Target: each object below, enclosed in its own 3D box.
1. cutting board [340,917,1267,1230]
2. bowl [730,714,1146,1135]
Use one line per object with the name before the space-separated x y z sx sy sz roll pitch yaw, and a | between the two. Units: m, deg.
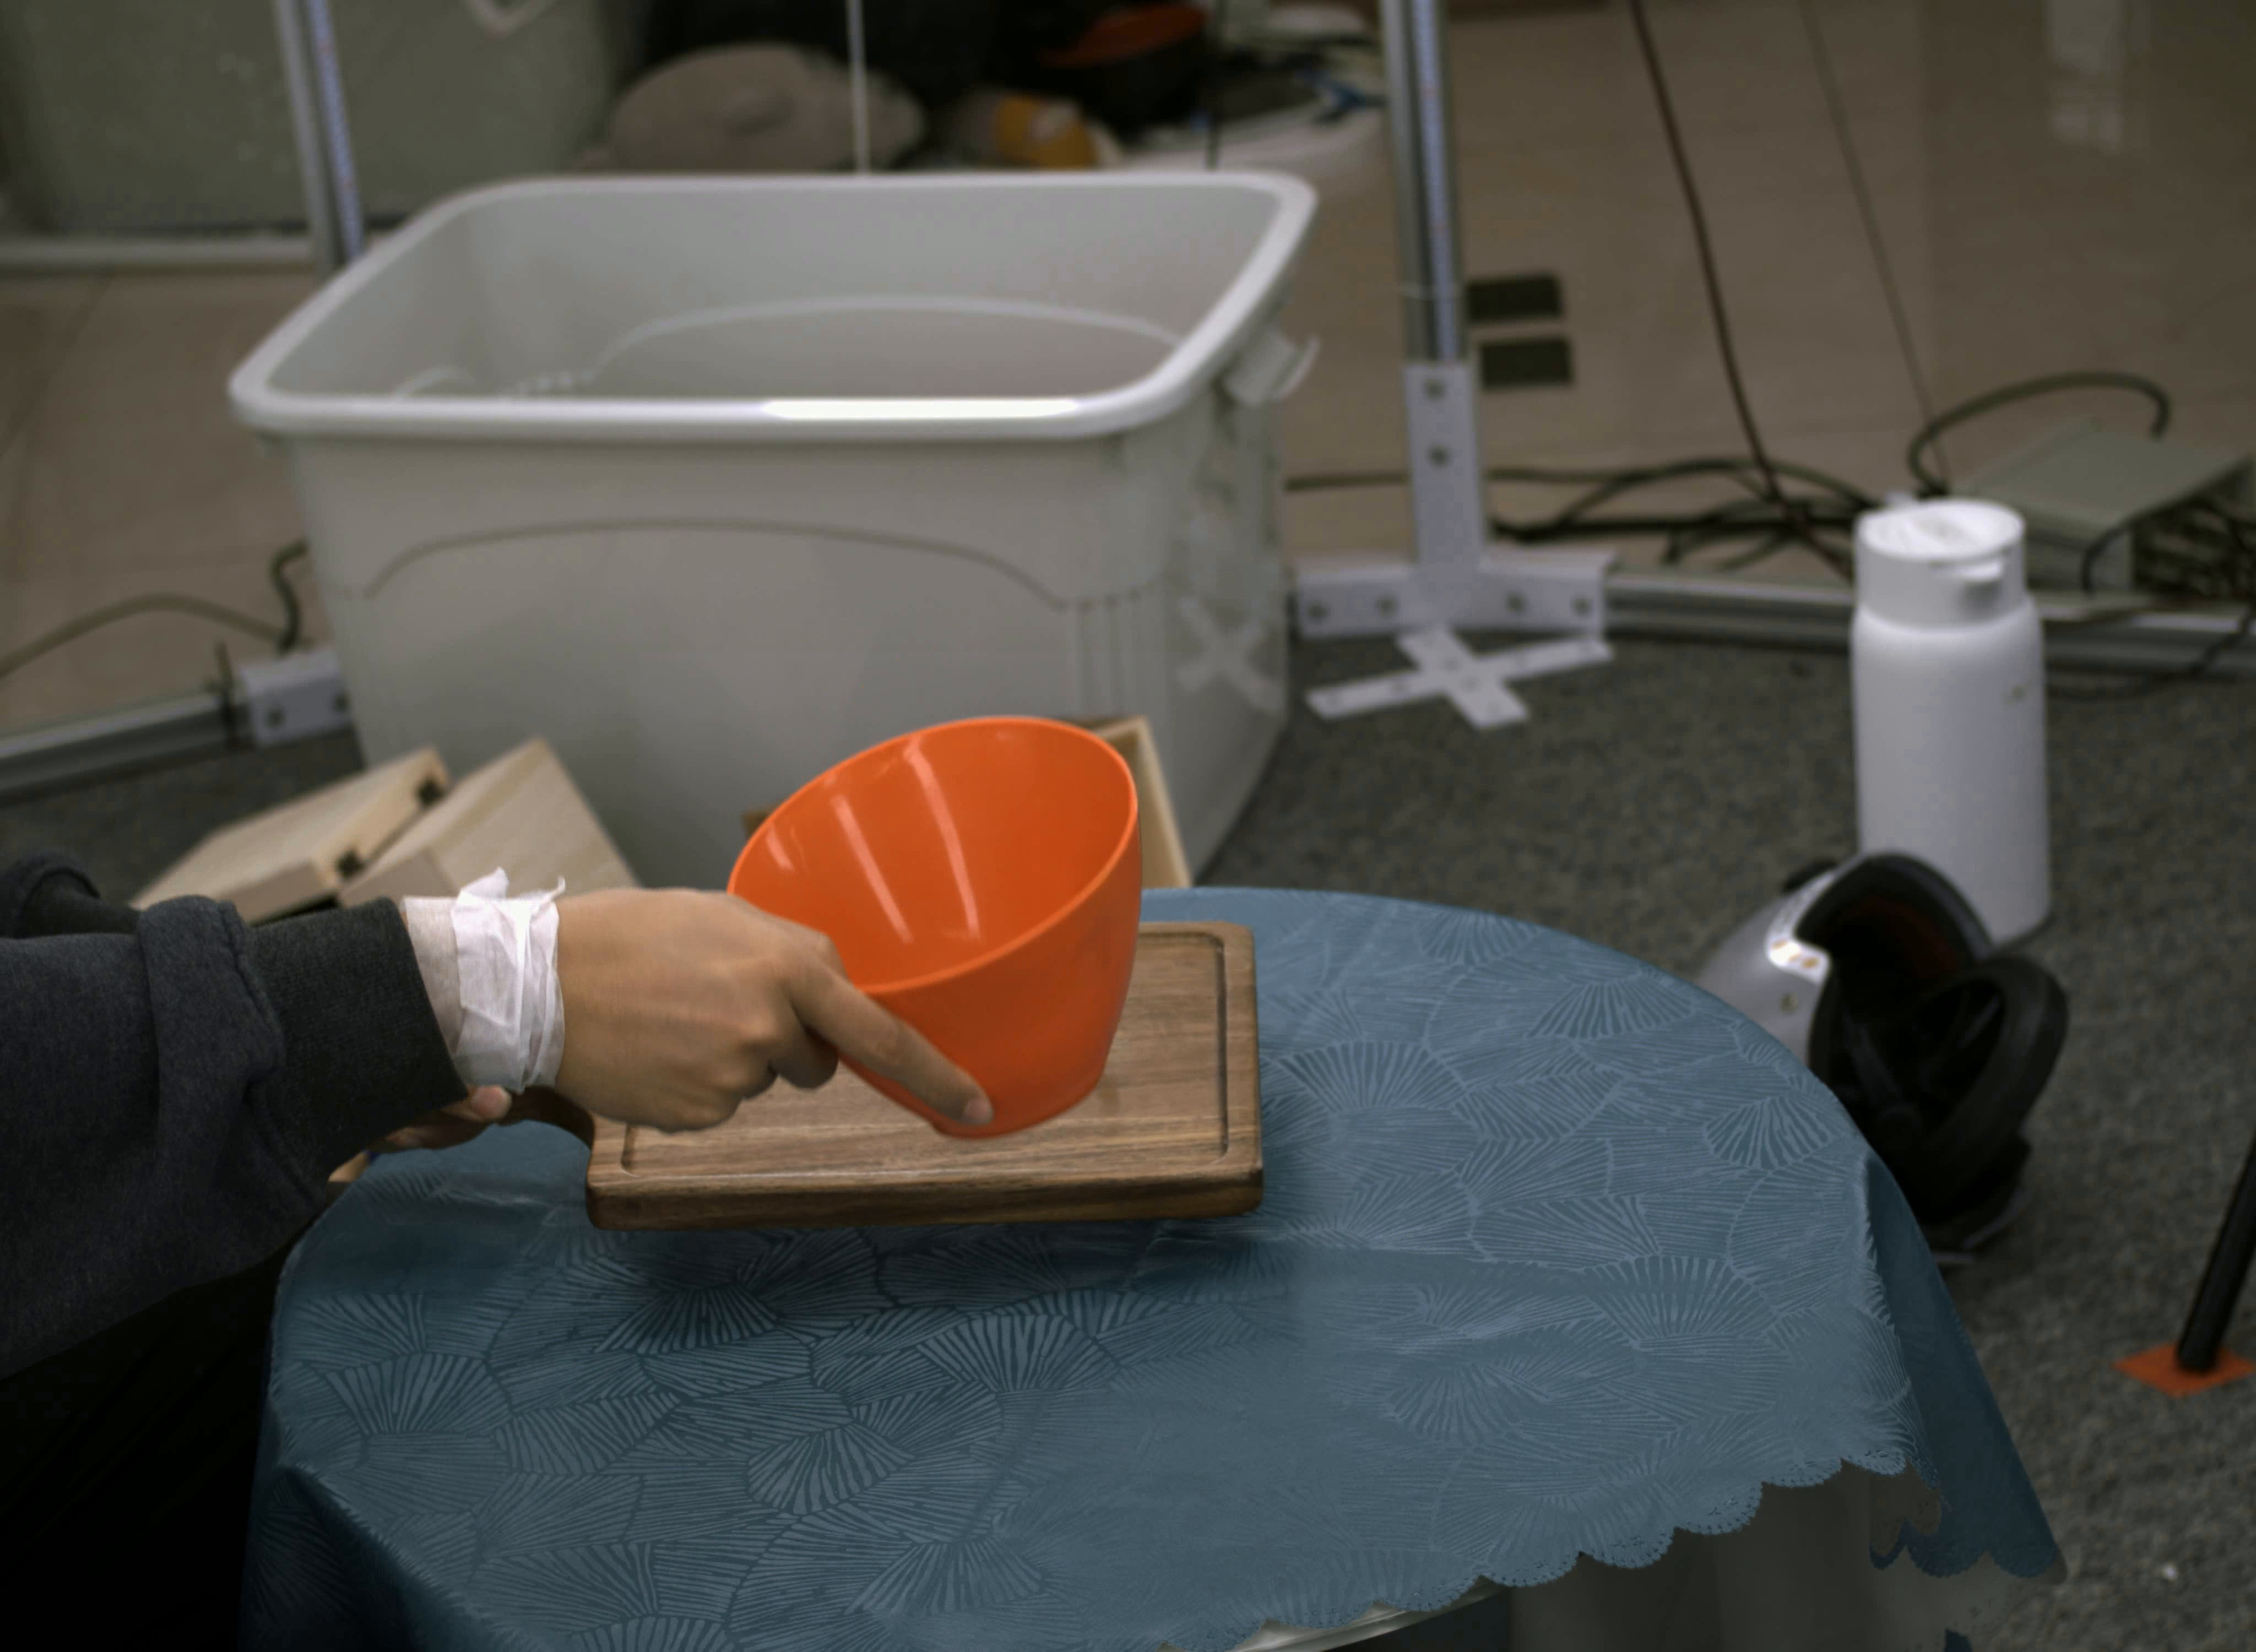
cutting board | -0.125 0.093 2.164 0.351 0.023 0.198 -2 28 1
bowl | -0.054 0.040 1.948 0.148 0.106 0.146 -16 24 8
